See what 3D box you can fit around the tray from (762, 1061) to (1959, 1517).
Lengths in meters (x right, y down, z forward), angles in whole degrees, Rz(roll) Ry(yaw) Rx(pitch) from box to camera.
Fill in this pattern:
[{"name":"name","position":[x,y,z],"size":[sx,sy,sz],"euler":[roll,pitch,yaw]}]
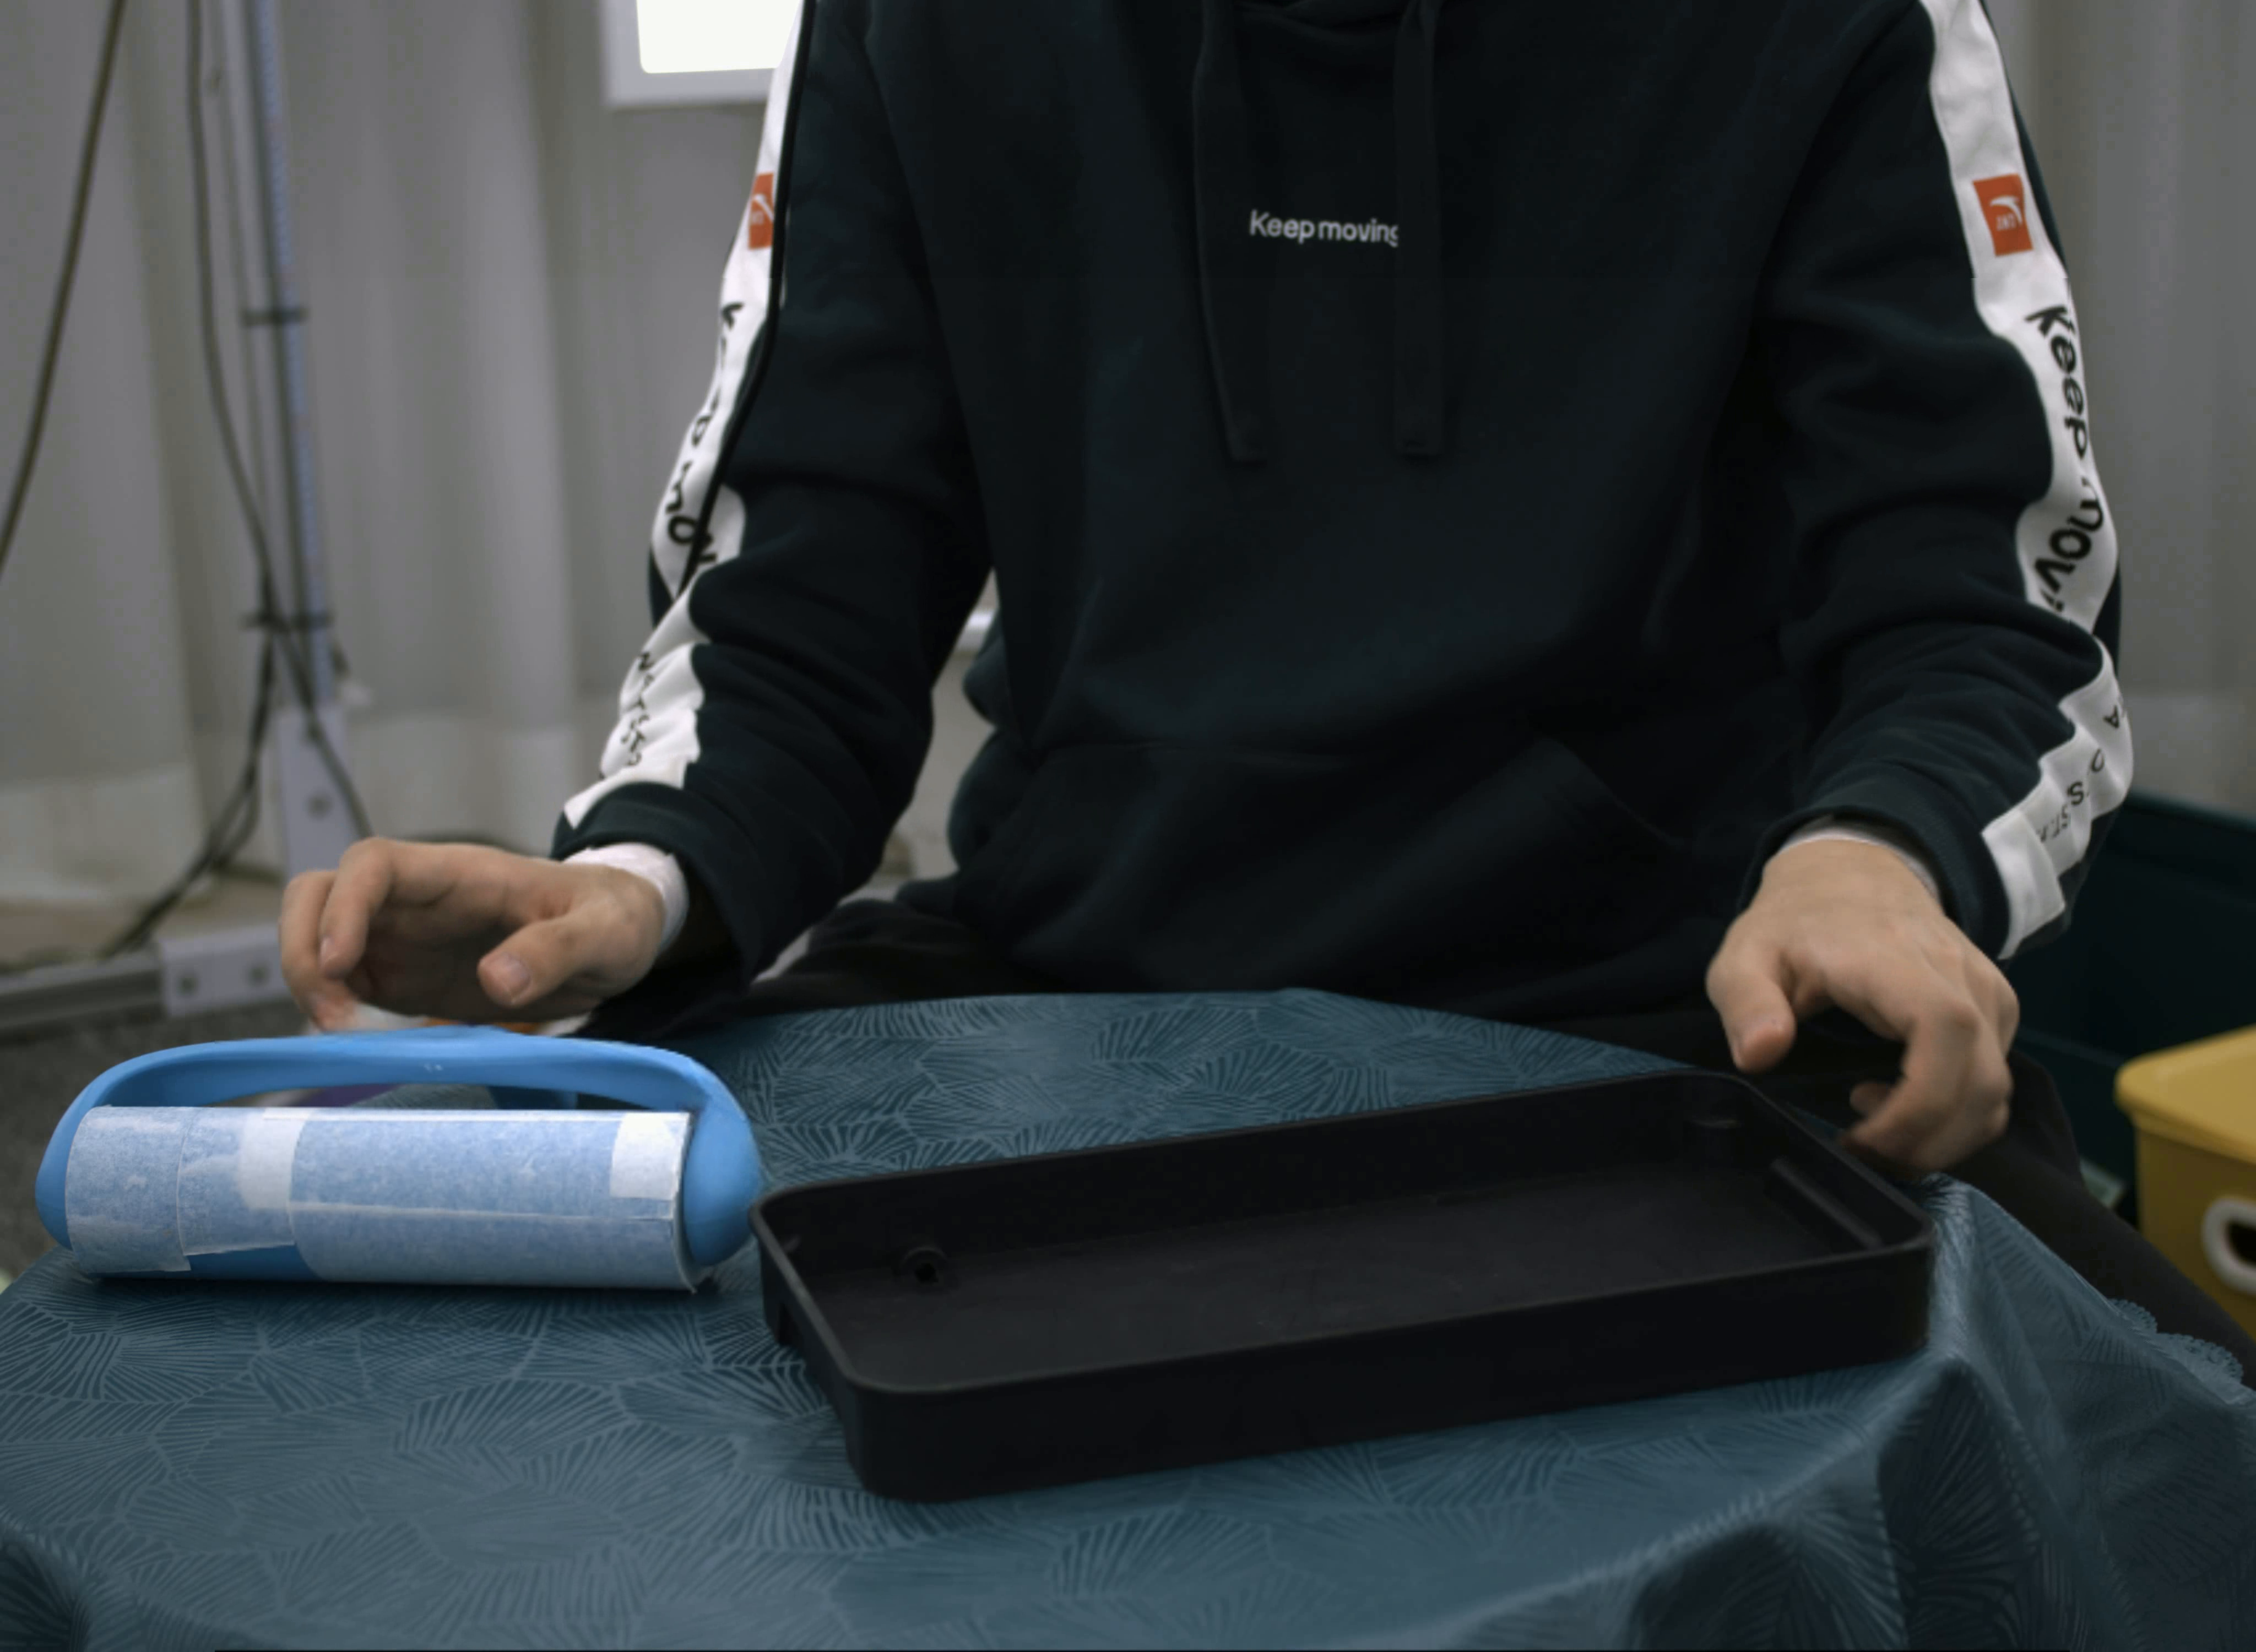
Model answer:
[{"name":"tray","position":[0.065,0.129,1.581],"size":[0.316,0.037,0.186],"euler":[-8,15,-14]}]

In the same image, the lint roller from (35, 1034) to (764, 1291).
[{"name":"lint roller","position":[-0.213,0.096,1.718],"size":[0.228,0.067,0.181],"euler":[-2,16,10]}]
